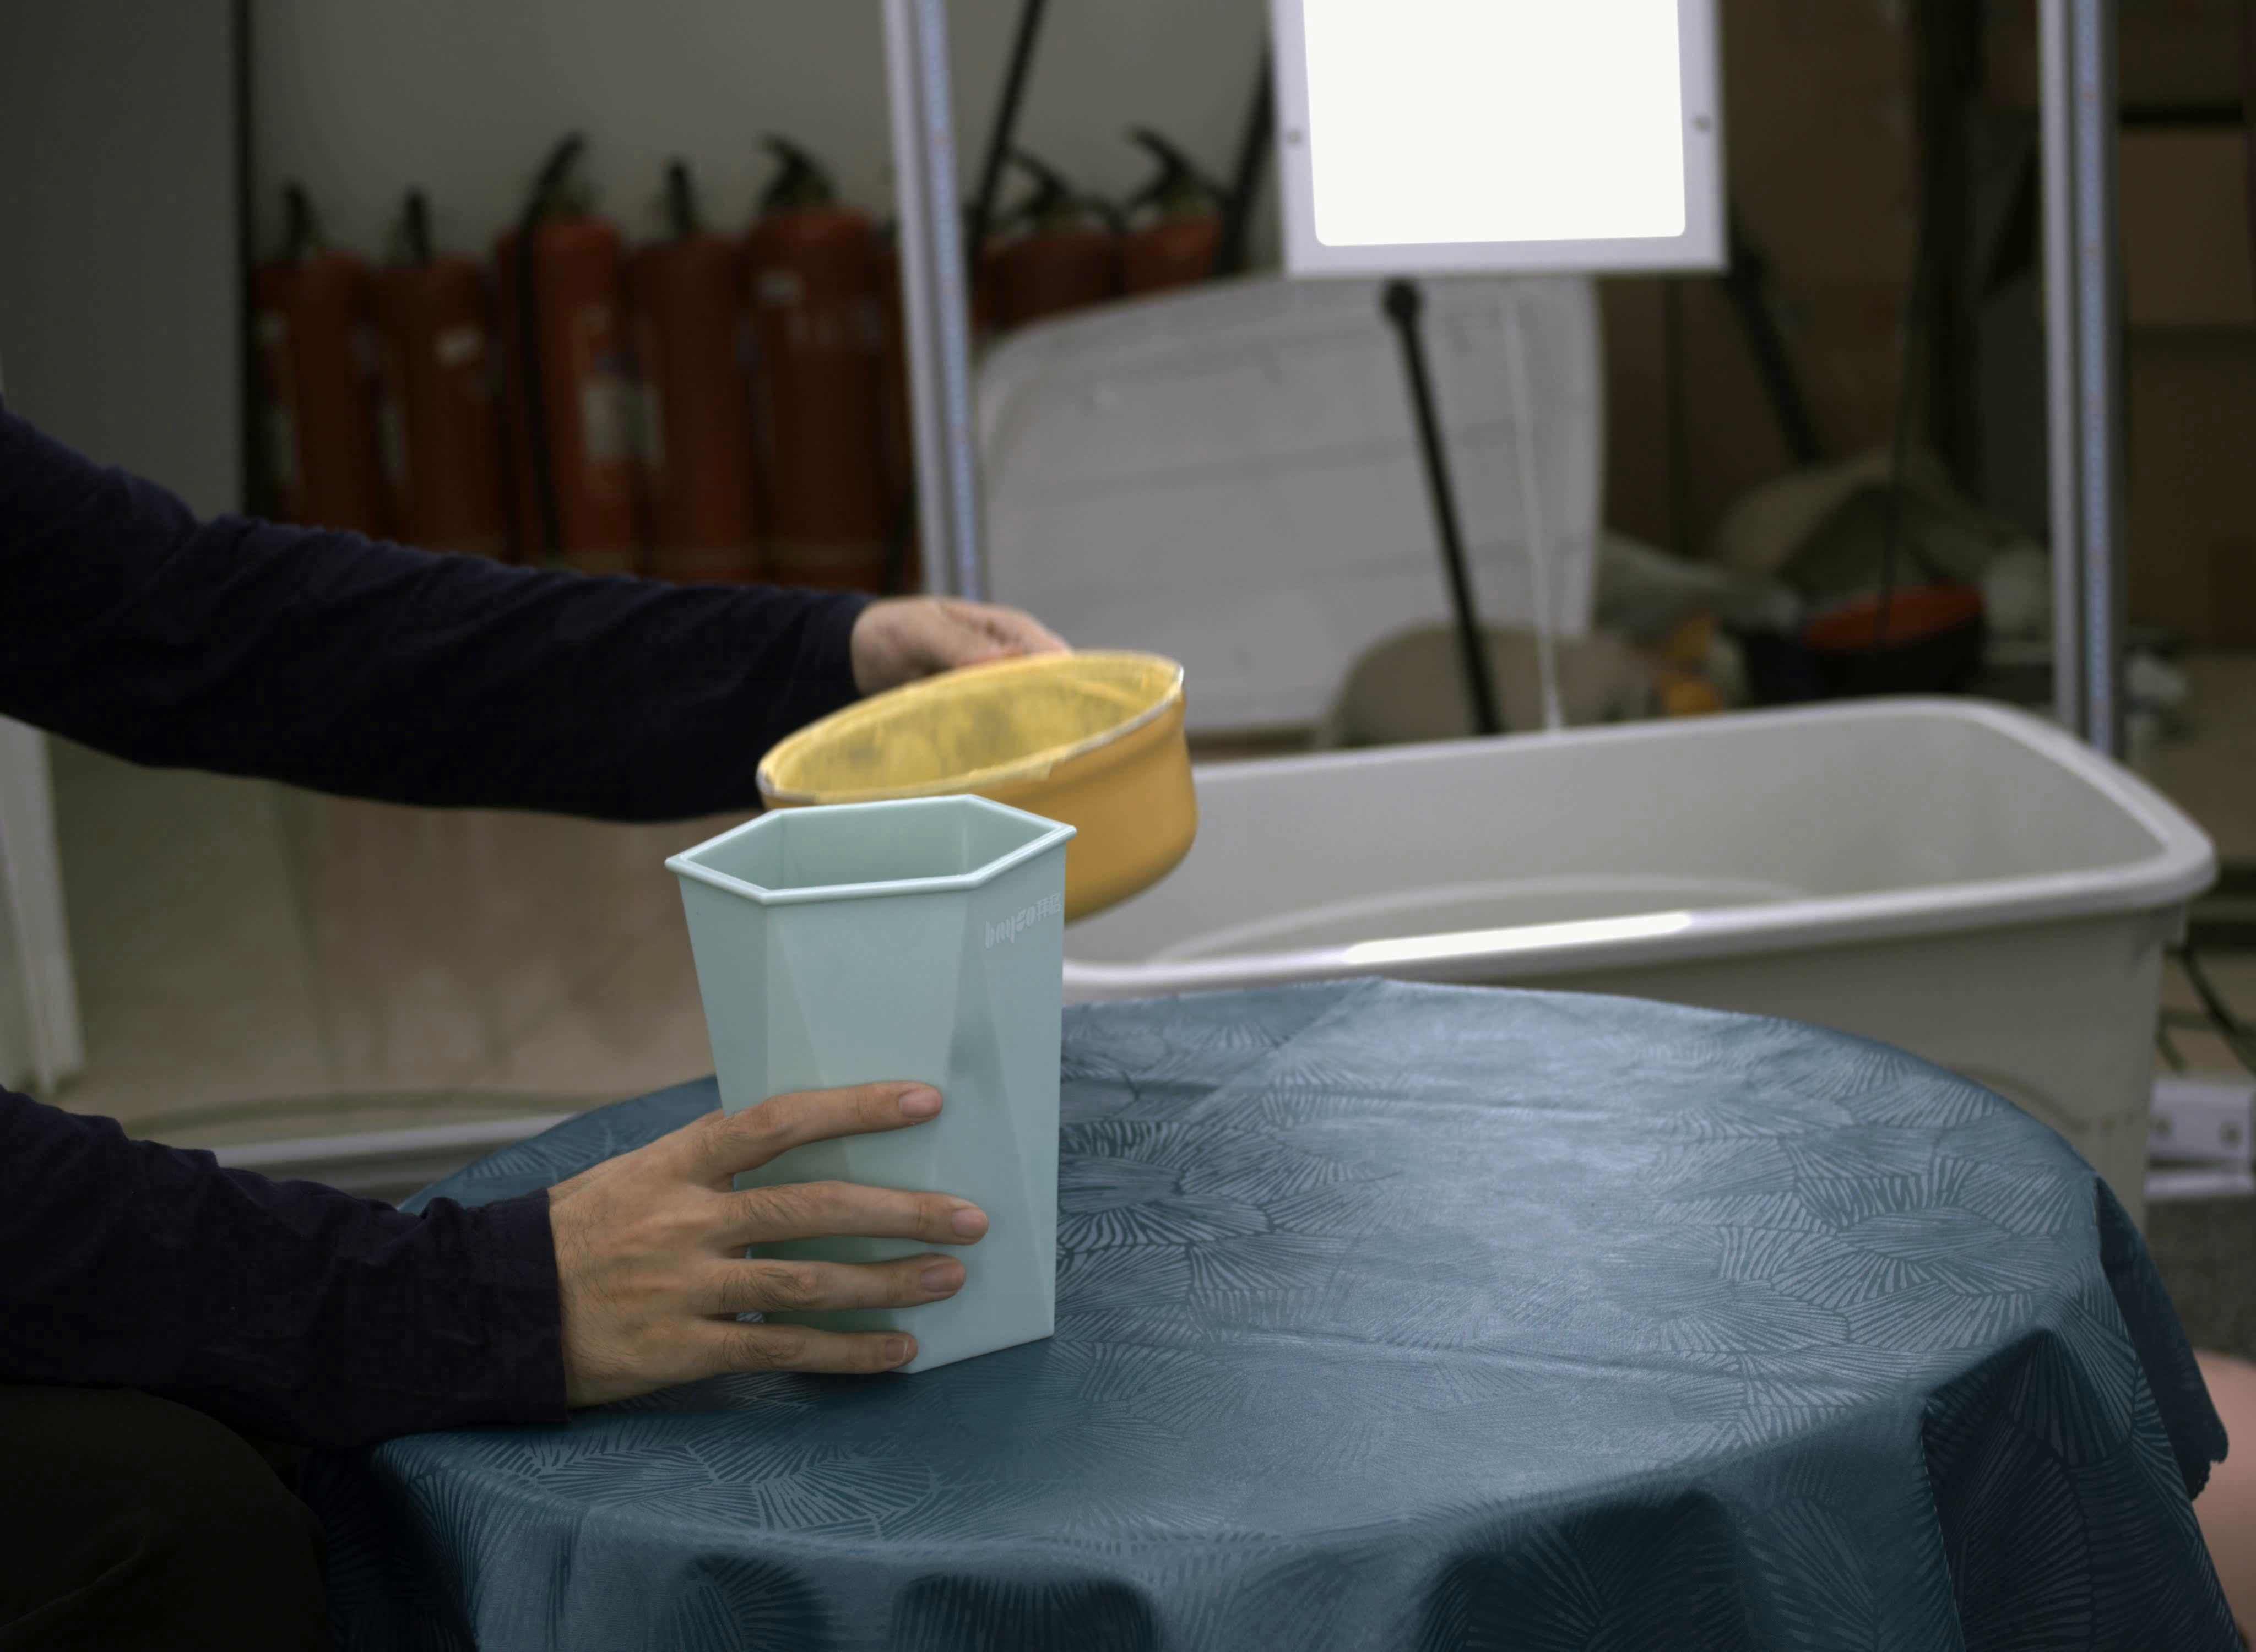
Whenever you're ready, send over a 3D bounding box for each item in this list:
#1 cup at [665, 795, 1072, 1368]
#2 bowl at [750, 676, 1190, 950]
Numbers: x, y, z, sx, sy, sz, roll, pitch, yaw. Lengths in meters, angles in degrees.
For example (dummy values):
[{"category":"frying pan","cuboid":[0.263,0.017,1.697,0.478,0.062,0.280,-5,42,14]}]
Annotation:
[{"category":"cup","cuboid":[-0.075,0.082,1.764,0.117,0.163,0.128,0,13,27]},{"category":"bowl","cuboid":[-0.048,-0.002,1.928,0.153,0.074,0.178,-15,16,6]}]
